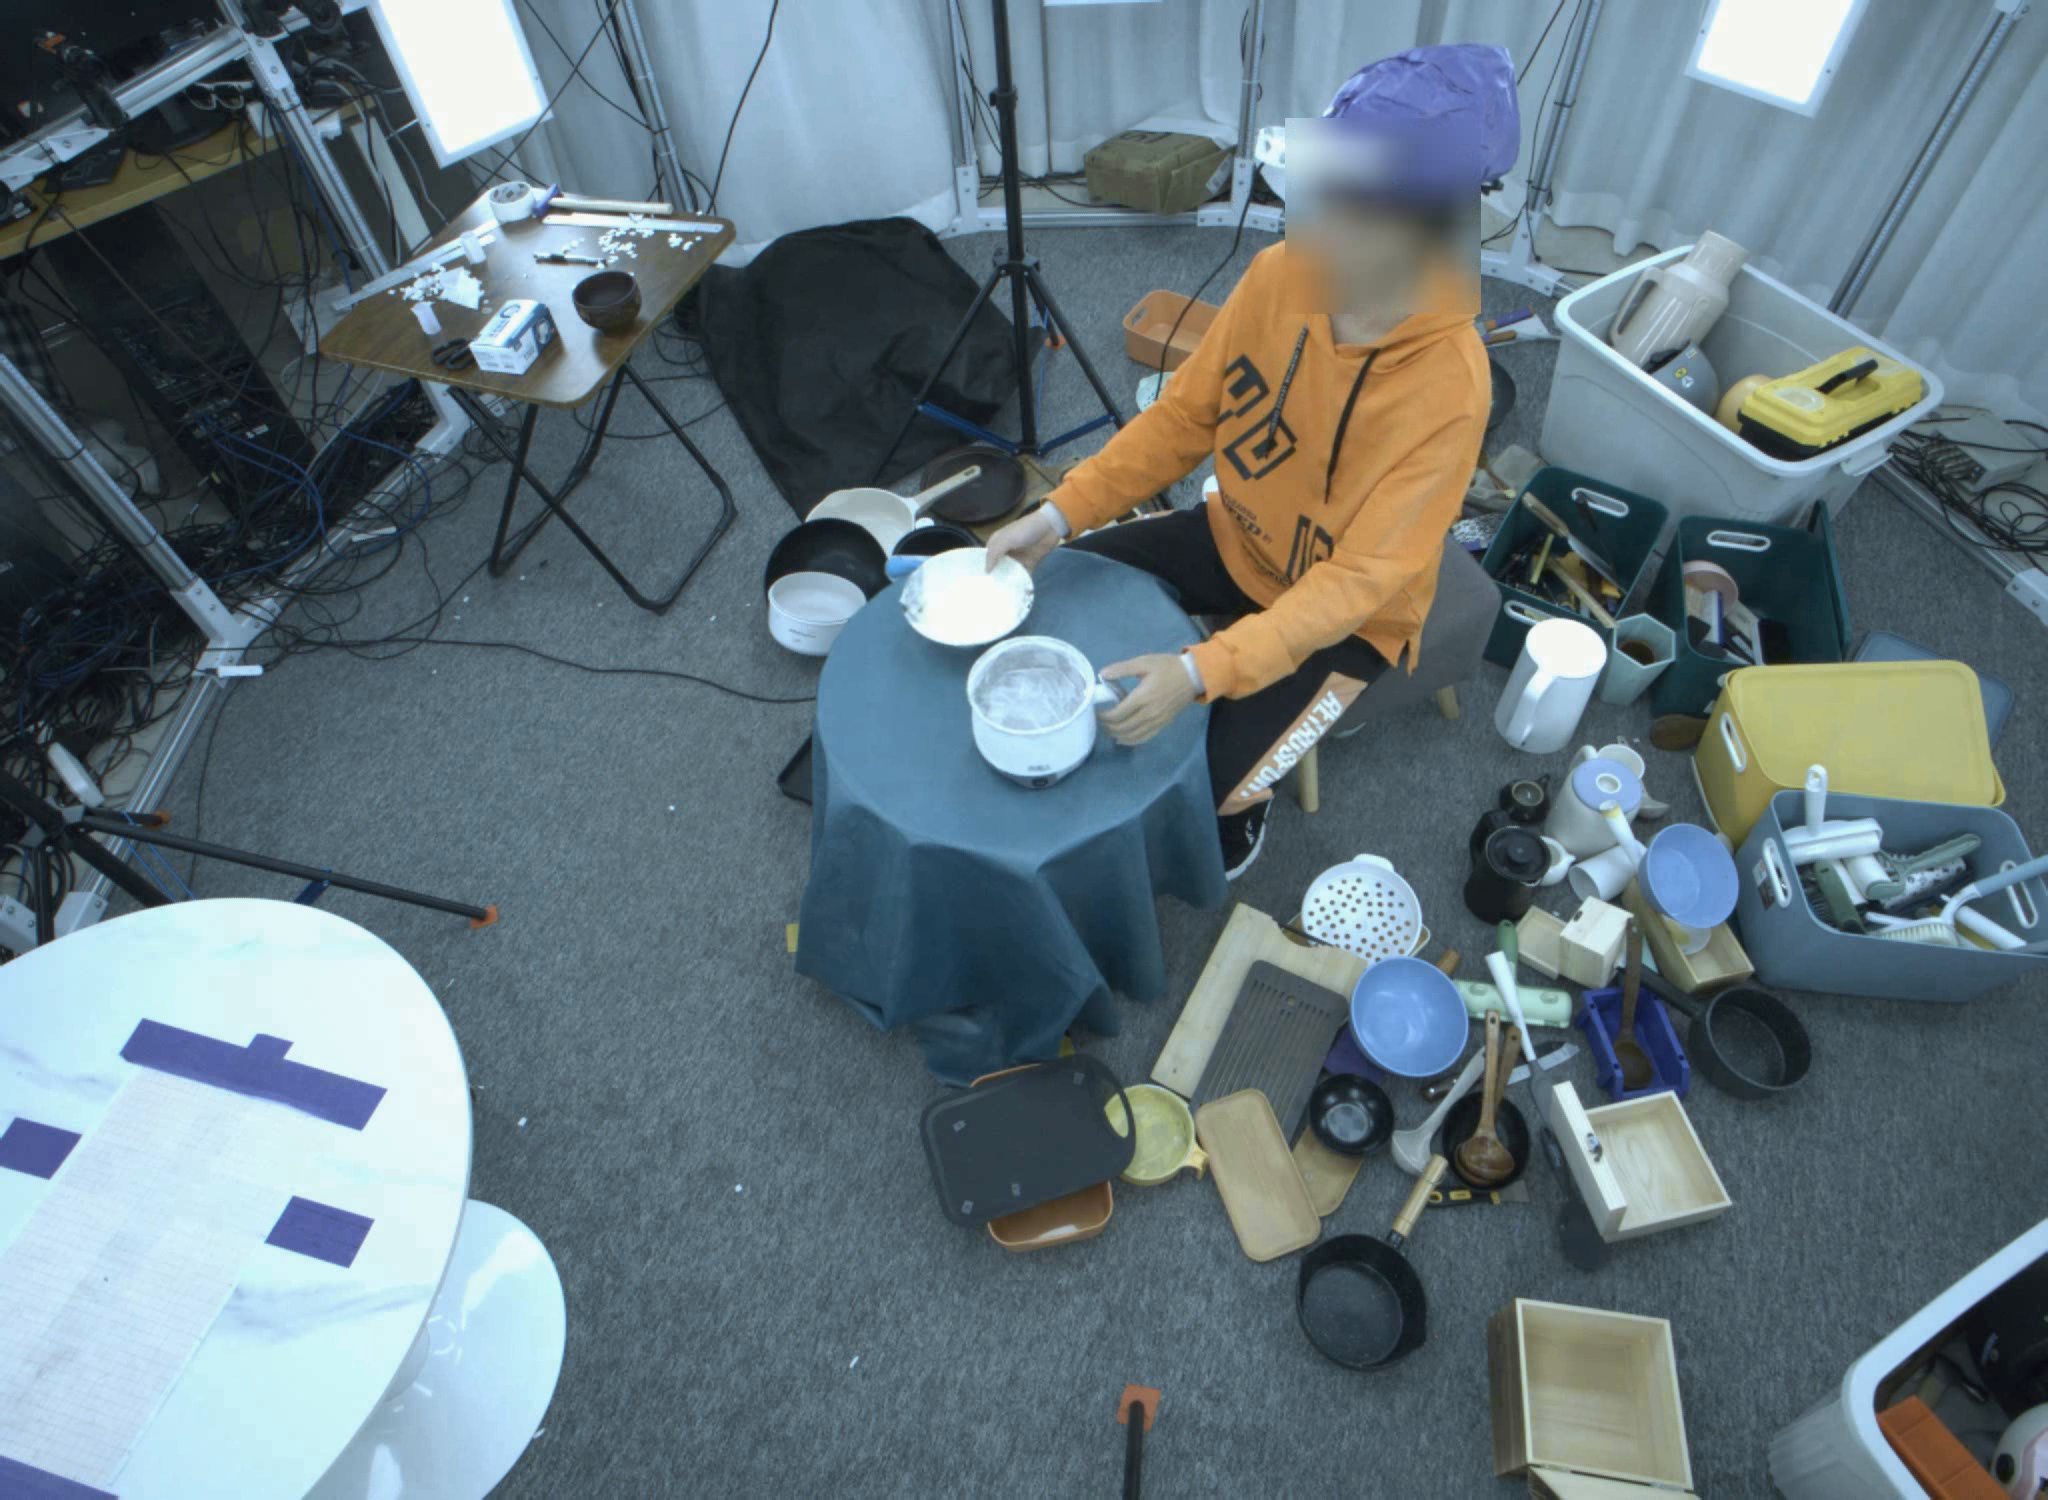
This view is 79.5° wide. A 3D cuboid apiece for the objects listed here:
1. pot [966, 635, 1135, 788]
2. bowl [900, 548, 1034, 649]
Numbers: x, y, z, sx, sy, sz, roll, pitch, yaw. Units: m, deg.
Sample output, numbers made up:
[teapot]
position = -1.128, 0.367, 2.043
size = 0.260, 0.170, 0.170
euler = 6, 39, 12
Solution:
[pot]
position = 0.040, -0.057, 1.741
size = 0.234, 0.138, 0.176
euler = -7, 55, -2
[bowl]
position = -0.087, -0.214, 1.896
size = 0.204, 0.079, 0.202
euler = 1, 53, 1
